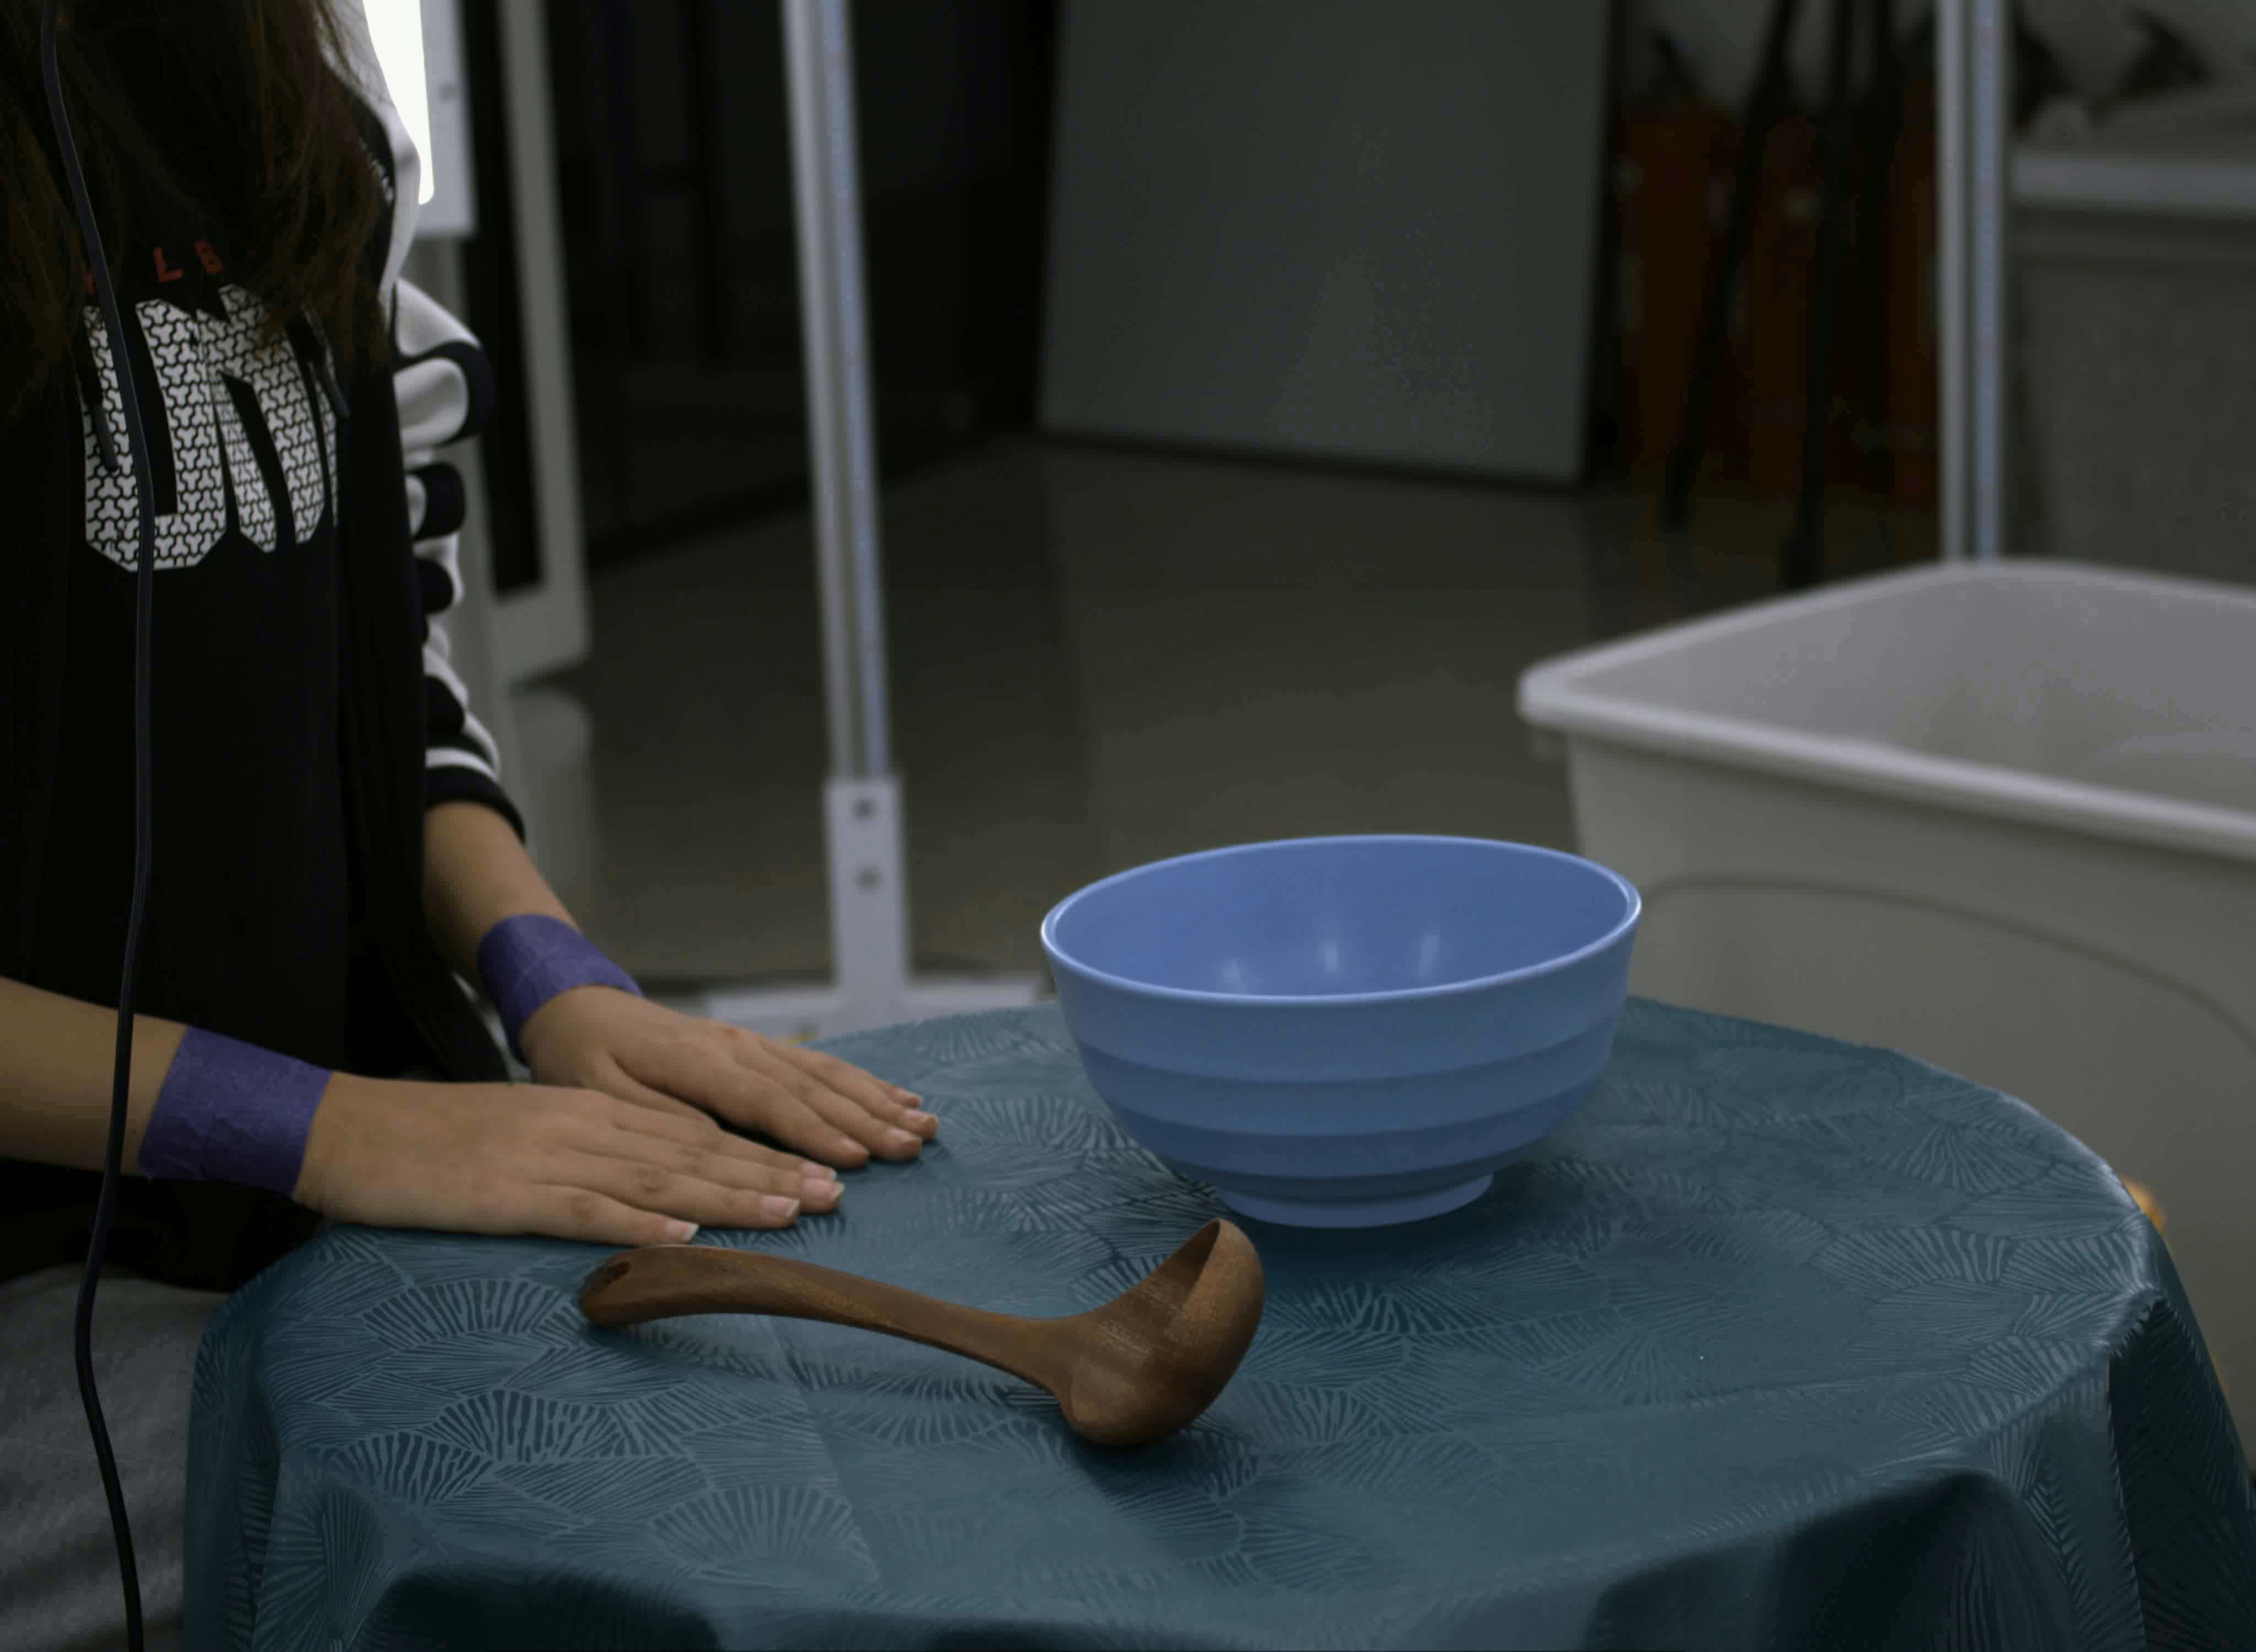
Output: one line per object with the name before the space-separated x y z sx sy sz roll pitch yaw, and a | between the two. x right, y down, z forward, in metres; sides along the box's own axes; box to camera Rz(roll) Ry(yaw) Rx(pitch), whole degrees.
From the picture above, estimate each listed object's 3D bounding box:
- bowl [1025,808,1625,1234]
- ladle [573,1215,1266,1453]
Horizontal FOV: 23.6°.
bowl | 0.066 0.071 1.756 0.194 0.096 0.197 -4 20 0
ladle | -0.070 0.138 1.595 0.262 0.065 0.076 6 44 34
